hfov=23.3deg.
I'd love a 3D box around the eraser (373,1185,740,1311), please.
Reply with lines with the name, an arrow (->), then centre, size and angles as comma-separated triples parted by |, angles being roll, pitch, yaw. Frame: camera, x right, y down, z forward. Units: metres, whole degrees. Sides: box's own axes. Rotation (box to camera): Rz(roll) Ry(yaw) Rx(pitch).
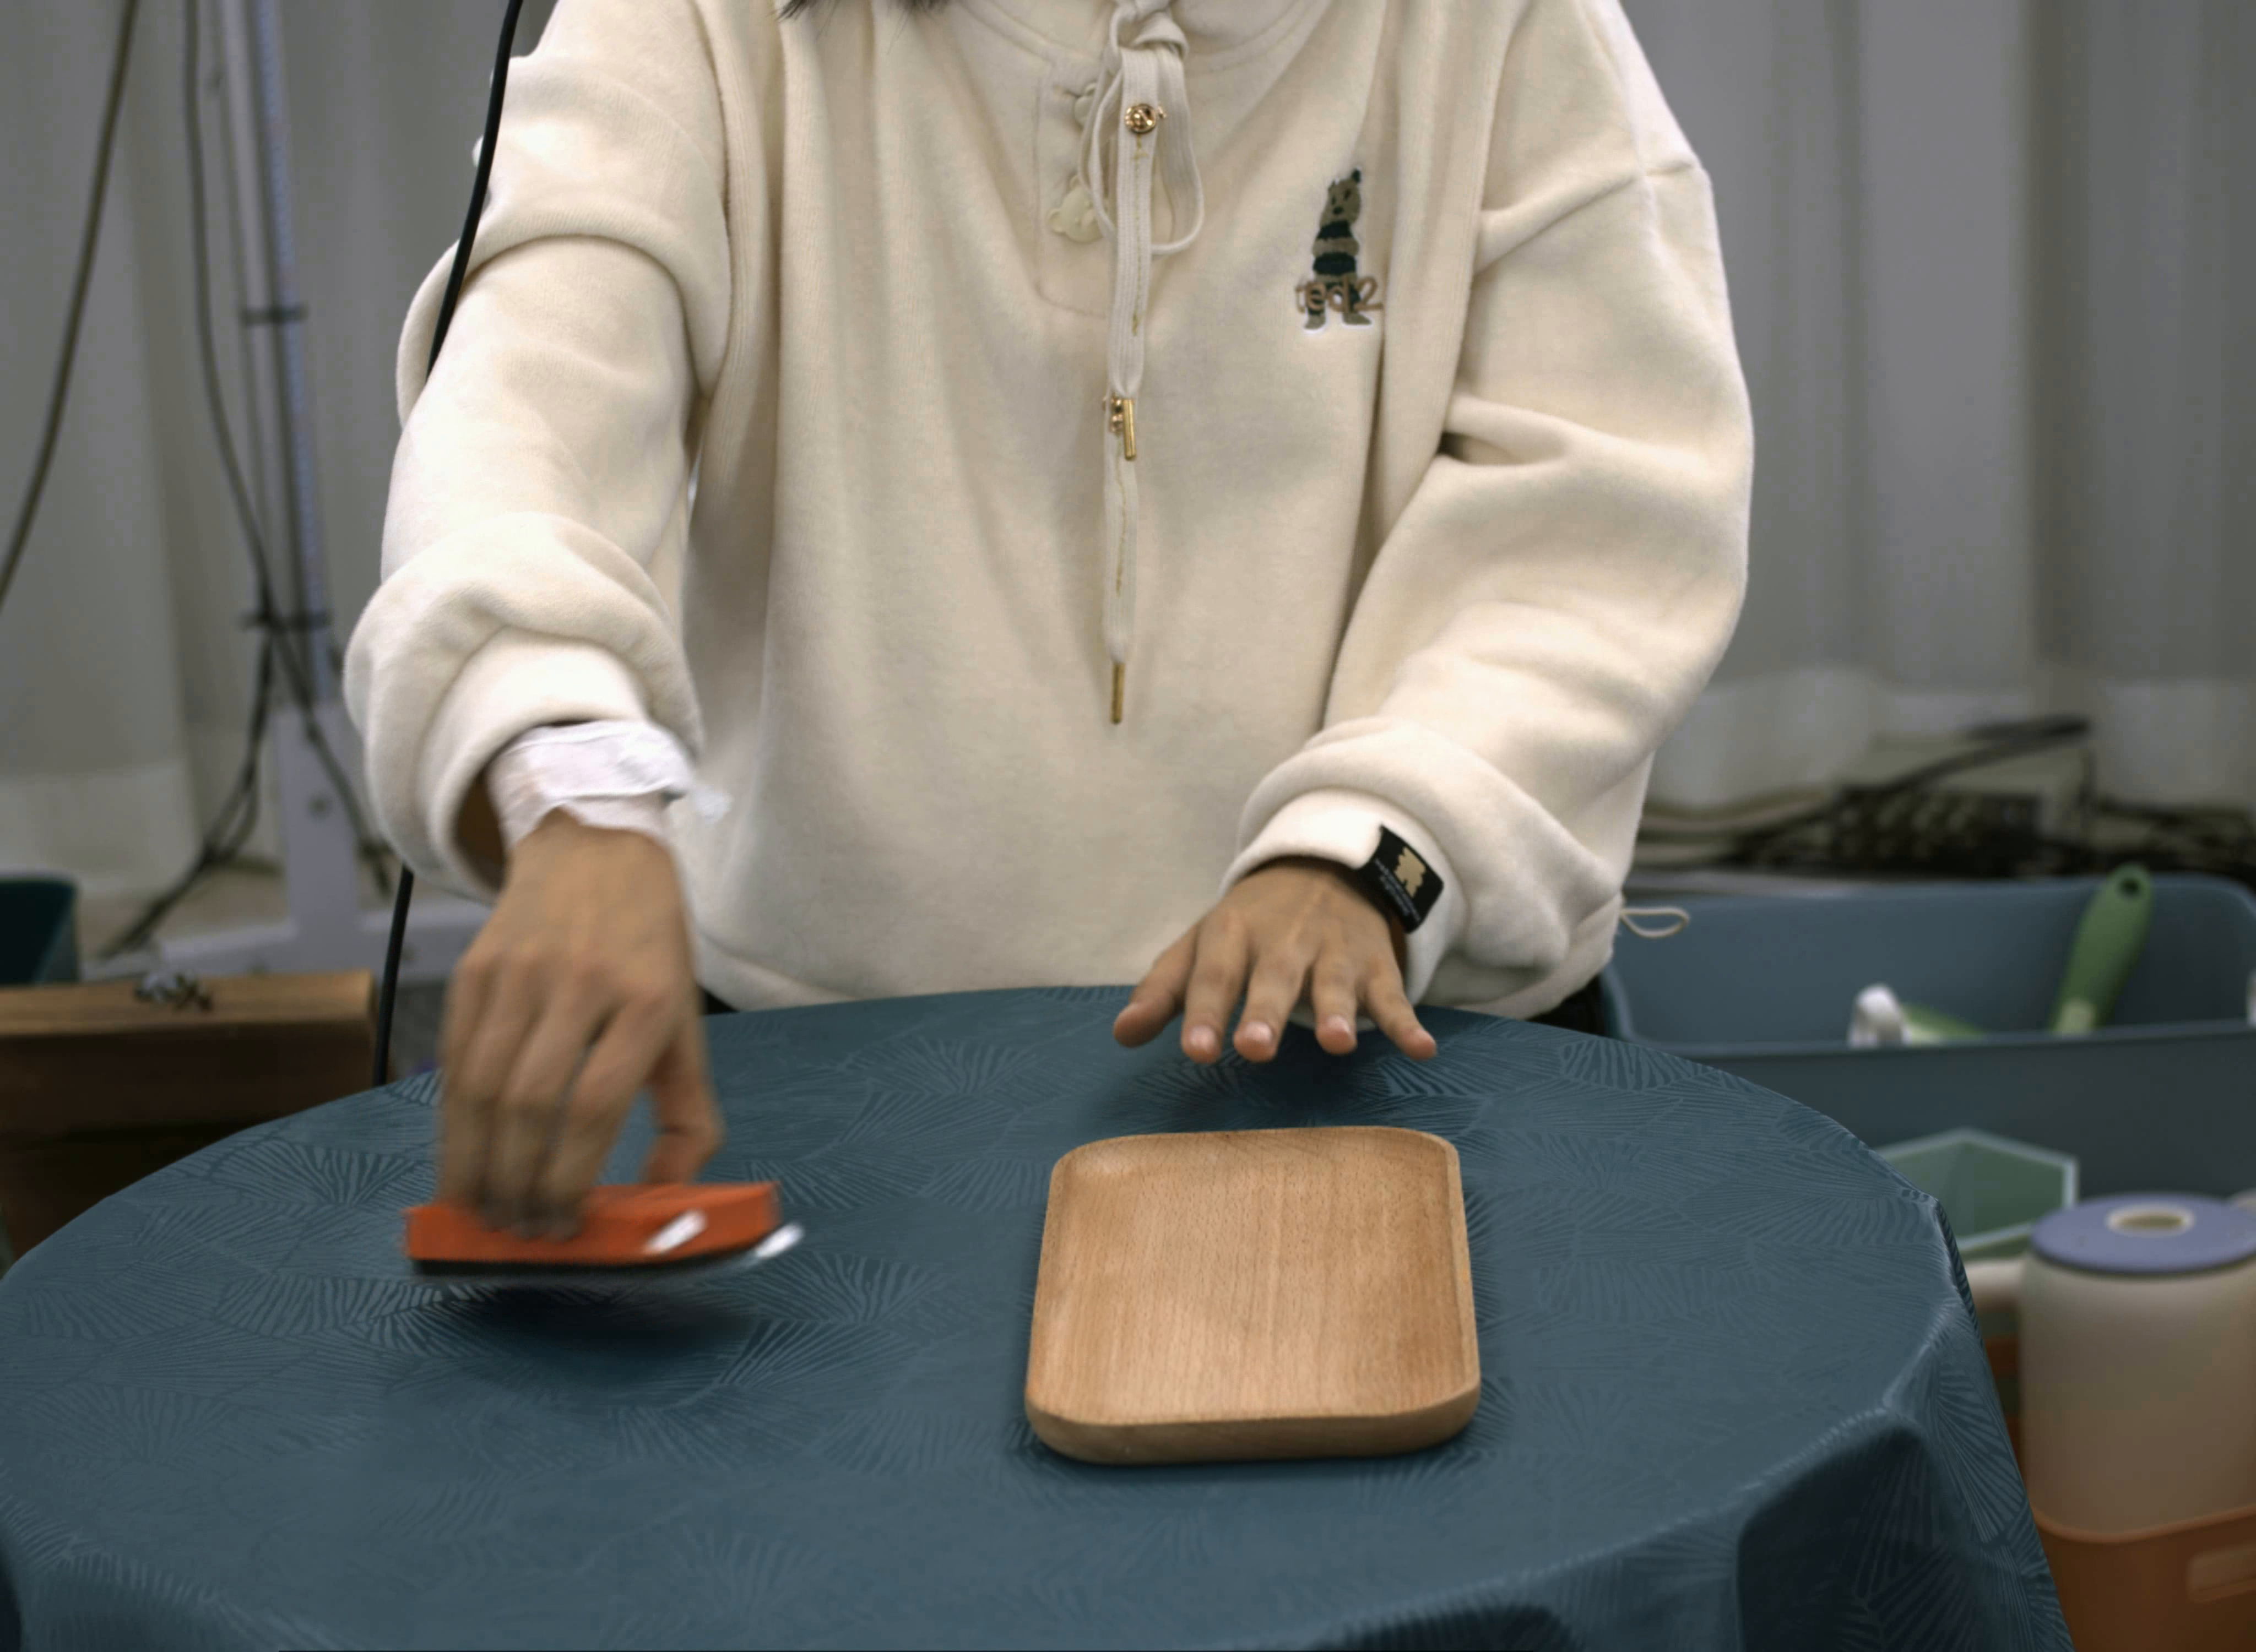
eraser -> -0.170, 0.125, 1.628 | 0.108, 0.023, 0.059 | 2, 8, 38

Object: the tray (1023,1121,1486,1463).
tray -> 0.039, 0.134, 1.600 | 0.130, 0.023, 0.252 | 1, 15, 3
